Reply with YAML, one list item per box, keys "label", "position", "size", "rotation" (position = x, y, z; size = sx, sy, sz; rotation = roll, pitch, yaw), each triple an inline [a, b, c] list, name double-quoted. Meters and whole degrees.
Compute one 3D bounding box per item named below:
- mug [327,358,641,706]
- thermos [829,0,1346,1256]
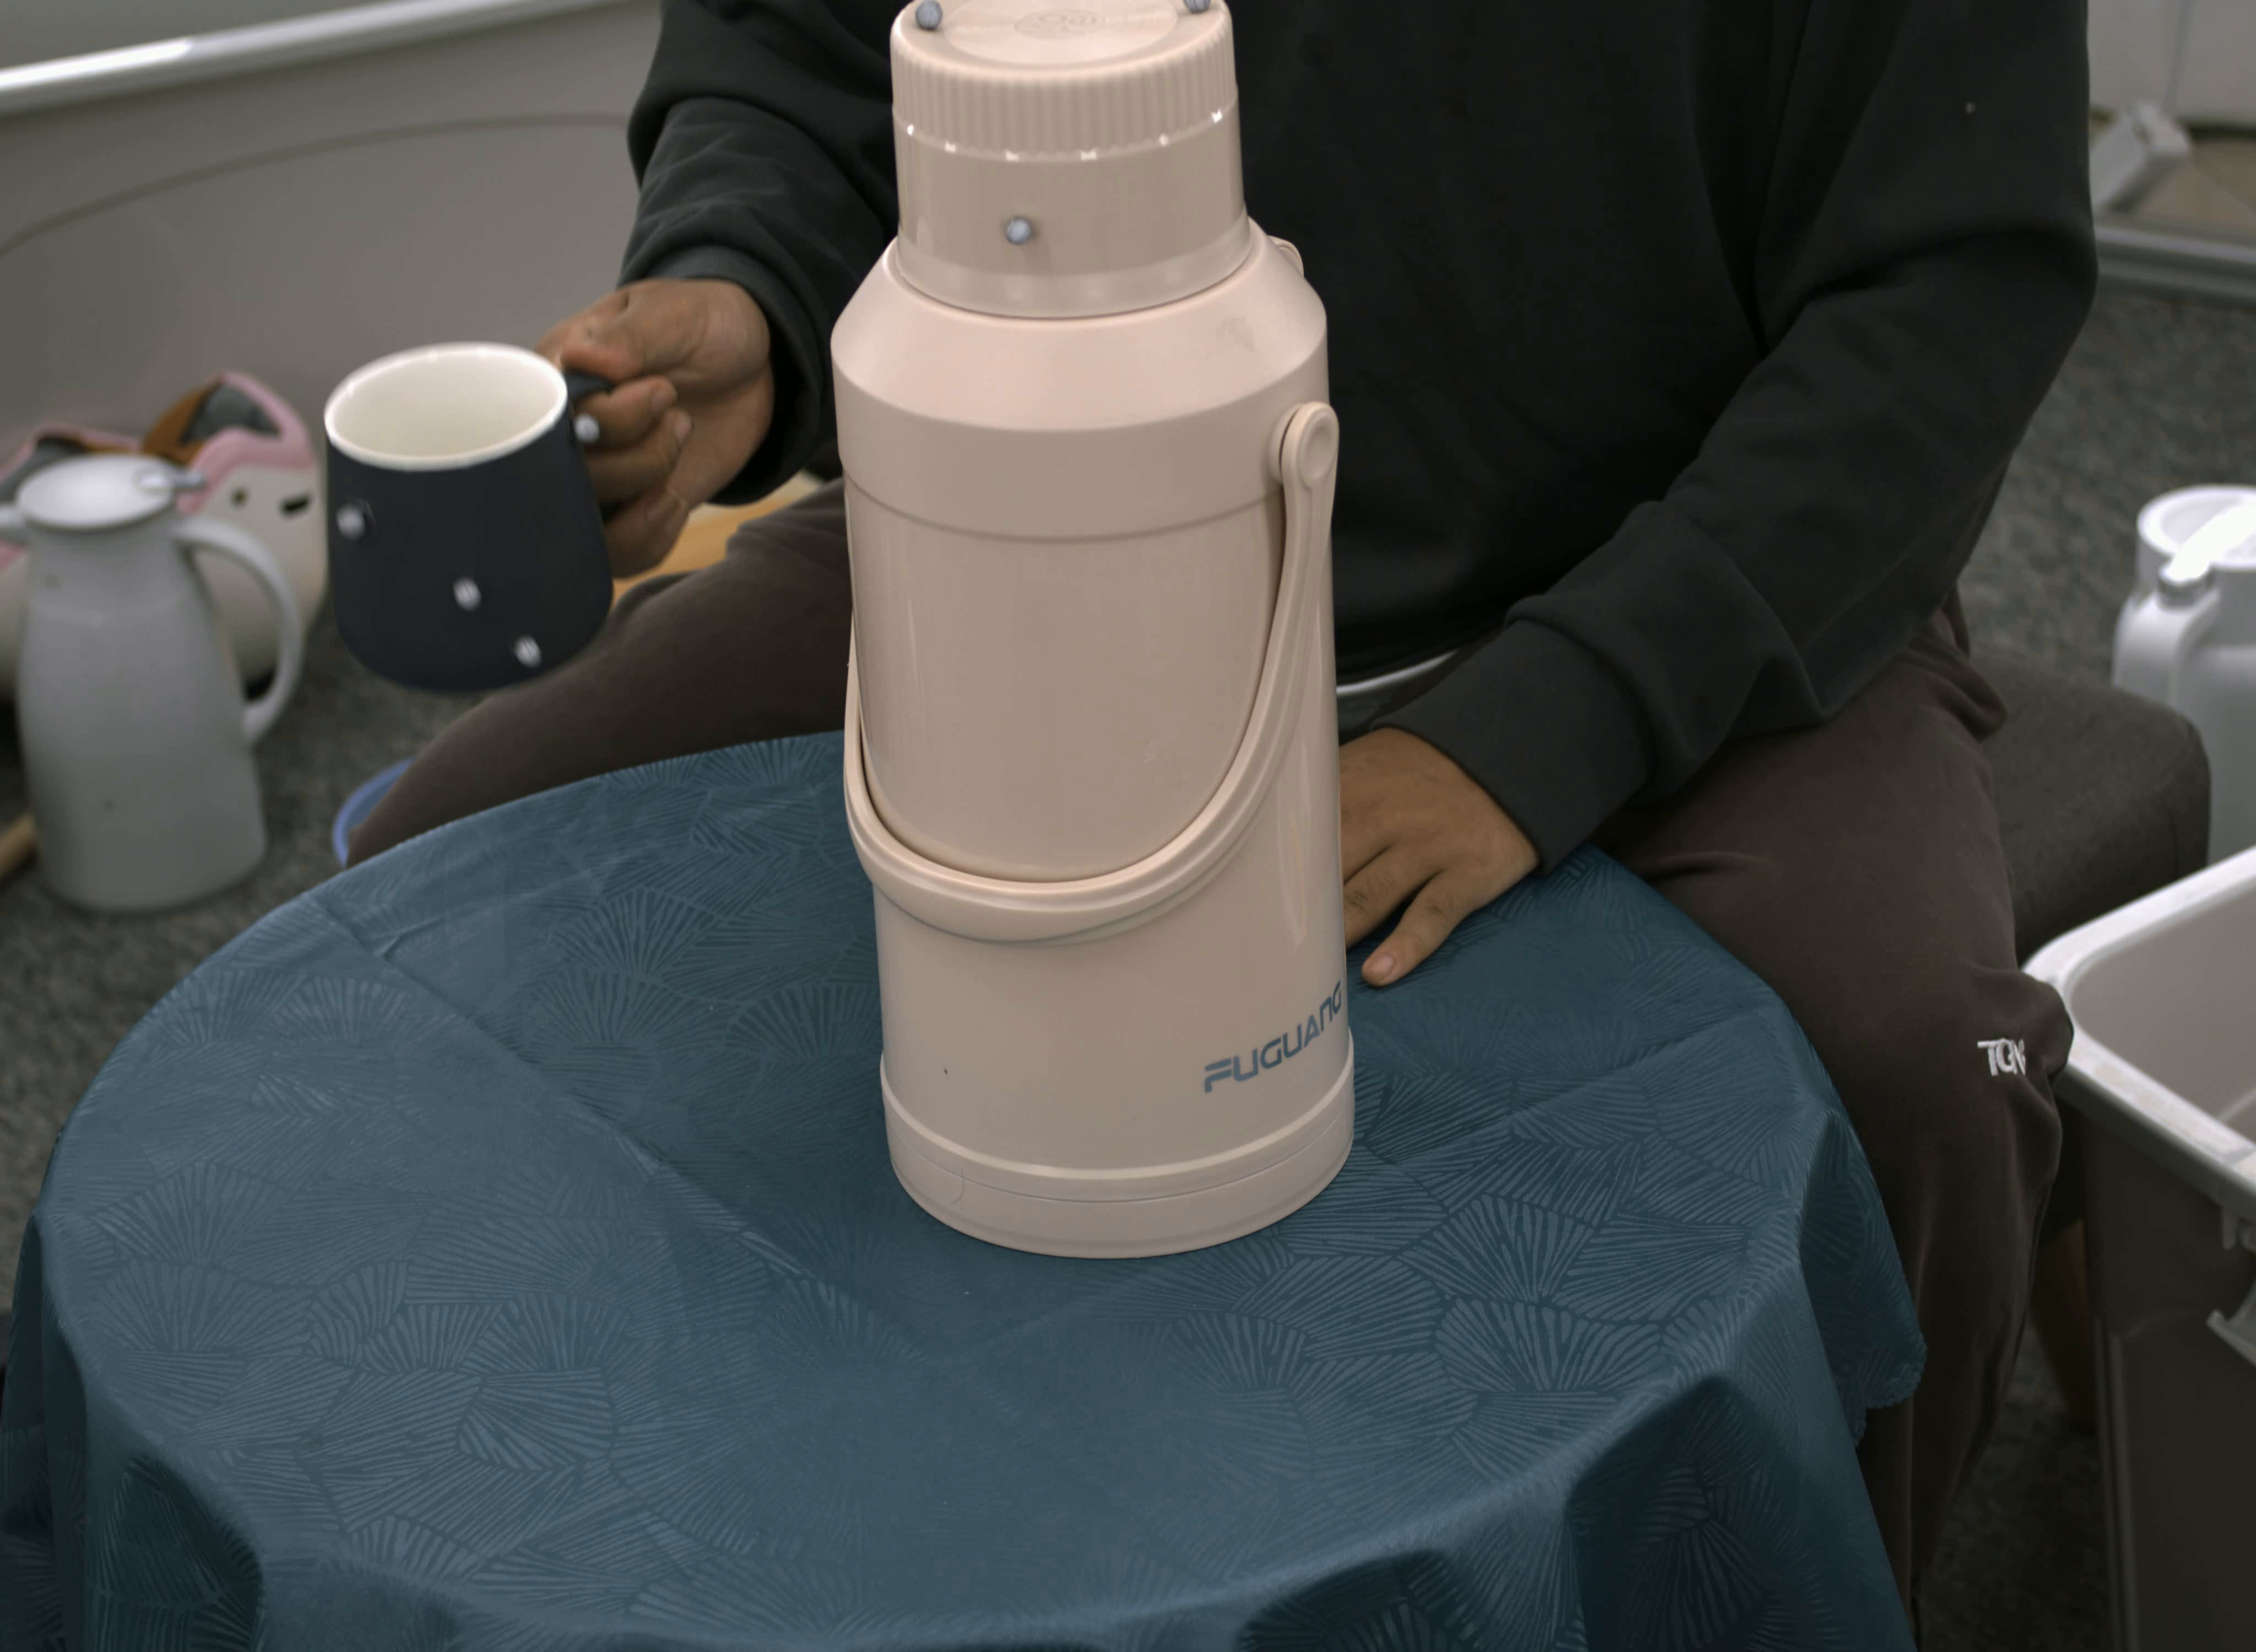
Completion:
- label: "mug"
  position: [-0.208, -0.103, 1.867]
  size: [0.093, 0.089, 0.125]
  rotation: [21, 41, 34]
- label: "thermos"
  position: [-0.004, -0.077, 1.823]
  size: [0.174, 0.402, 0.210]
  rotation: [13, 31, 30]
